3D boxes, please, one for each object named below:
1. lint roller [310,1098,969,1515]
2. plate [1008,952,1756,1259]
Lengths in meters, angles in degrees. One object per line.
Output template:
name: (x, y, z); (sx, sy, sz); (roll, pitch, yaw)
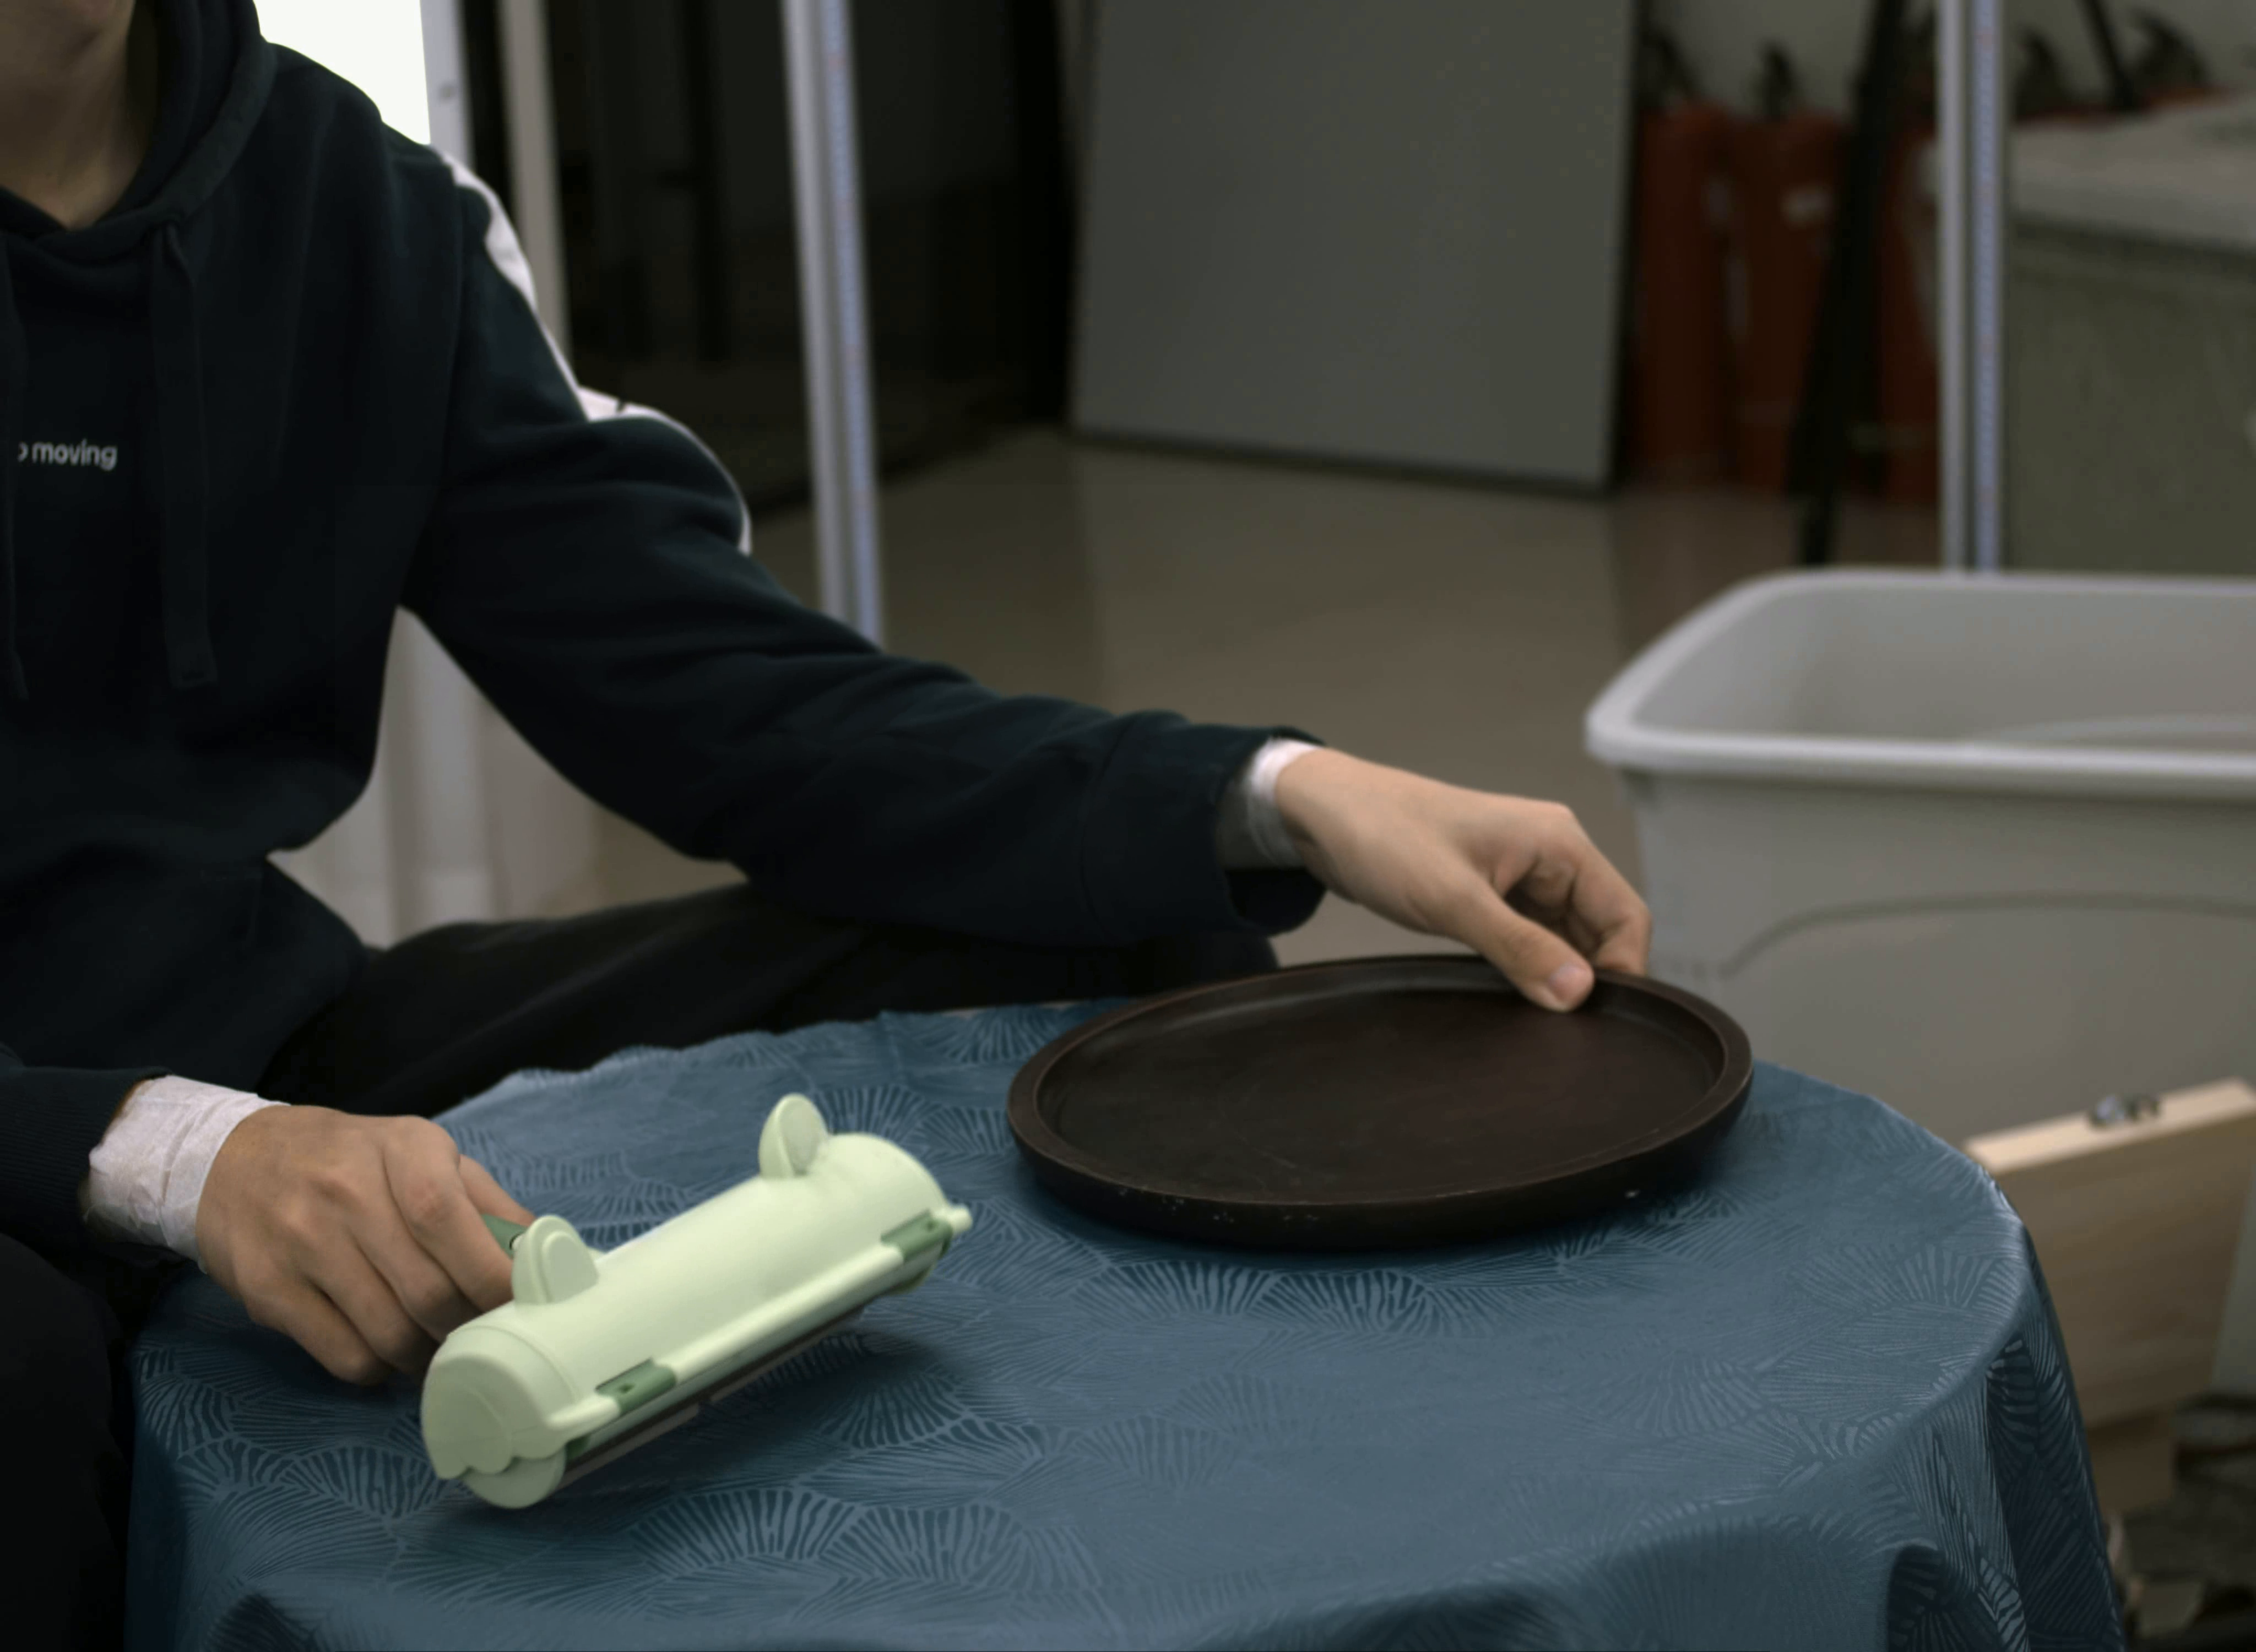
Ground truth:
lint roller: (-0.172, 0.123, 1.603); (0.184, 0.083, 0.195); (18, 24, 32)
plate: (0.085, 0.093, 1.797); (0.251, 0.029, 0.255); (-7, 16, 1)
